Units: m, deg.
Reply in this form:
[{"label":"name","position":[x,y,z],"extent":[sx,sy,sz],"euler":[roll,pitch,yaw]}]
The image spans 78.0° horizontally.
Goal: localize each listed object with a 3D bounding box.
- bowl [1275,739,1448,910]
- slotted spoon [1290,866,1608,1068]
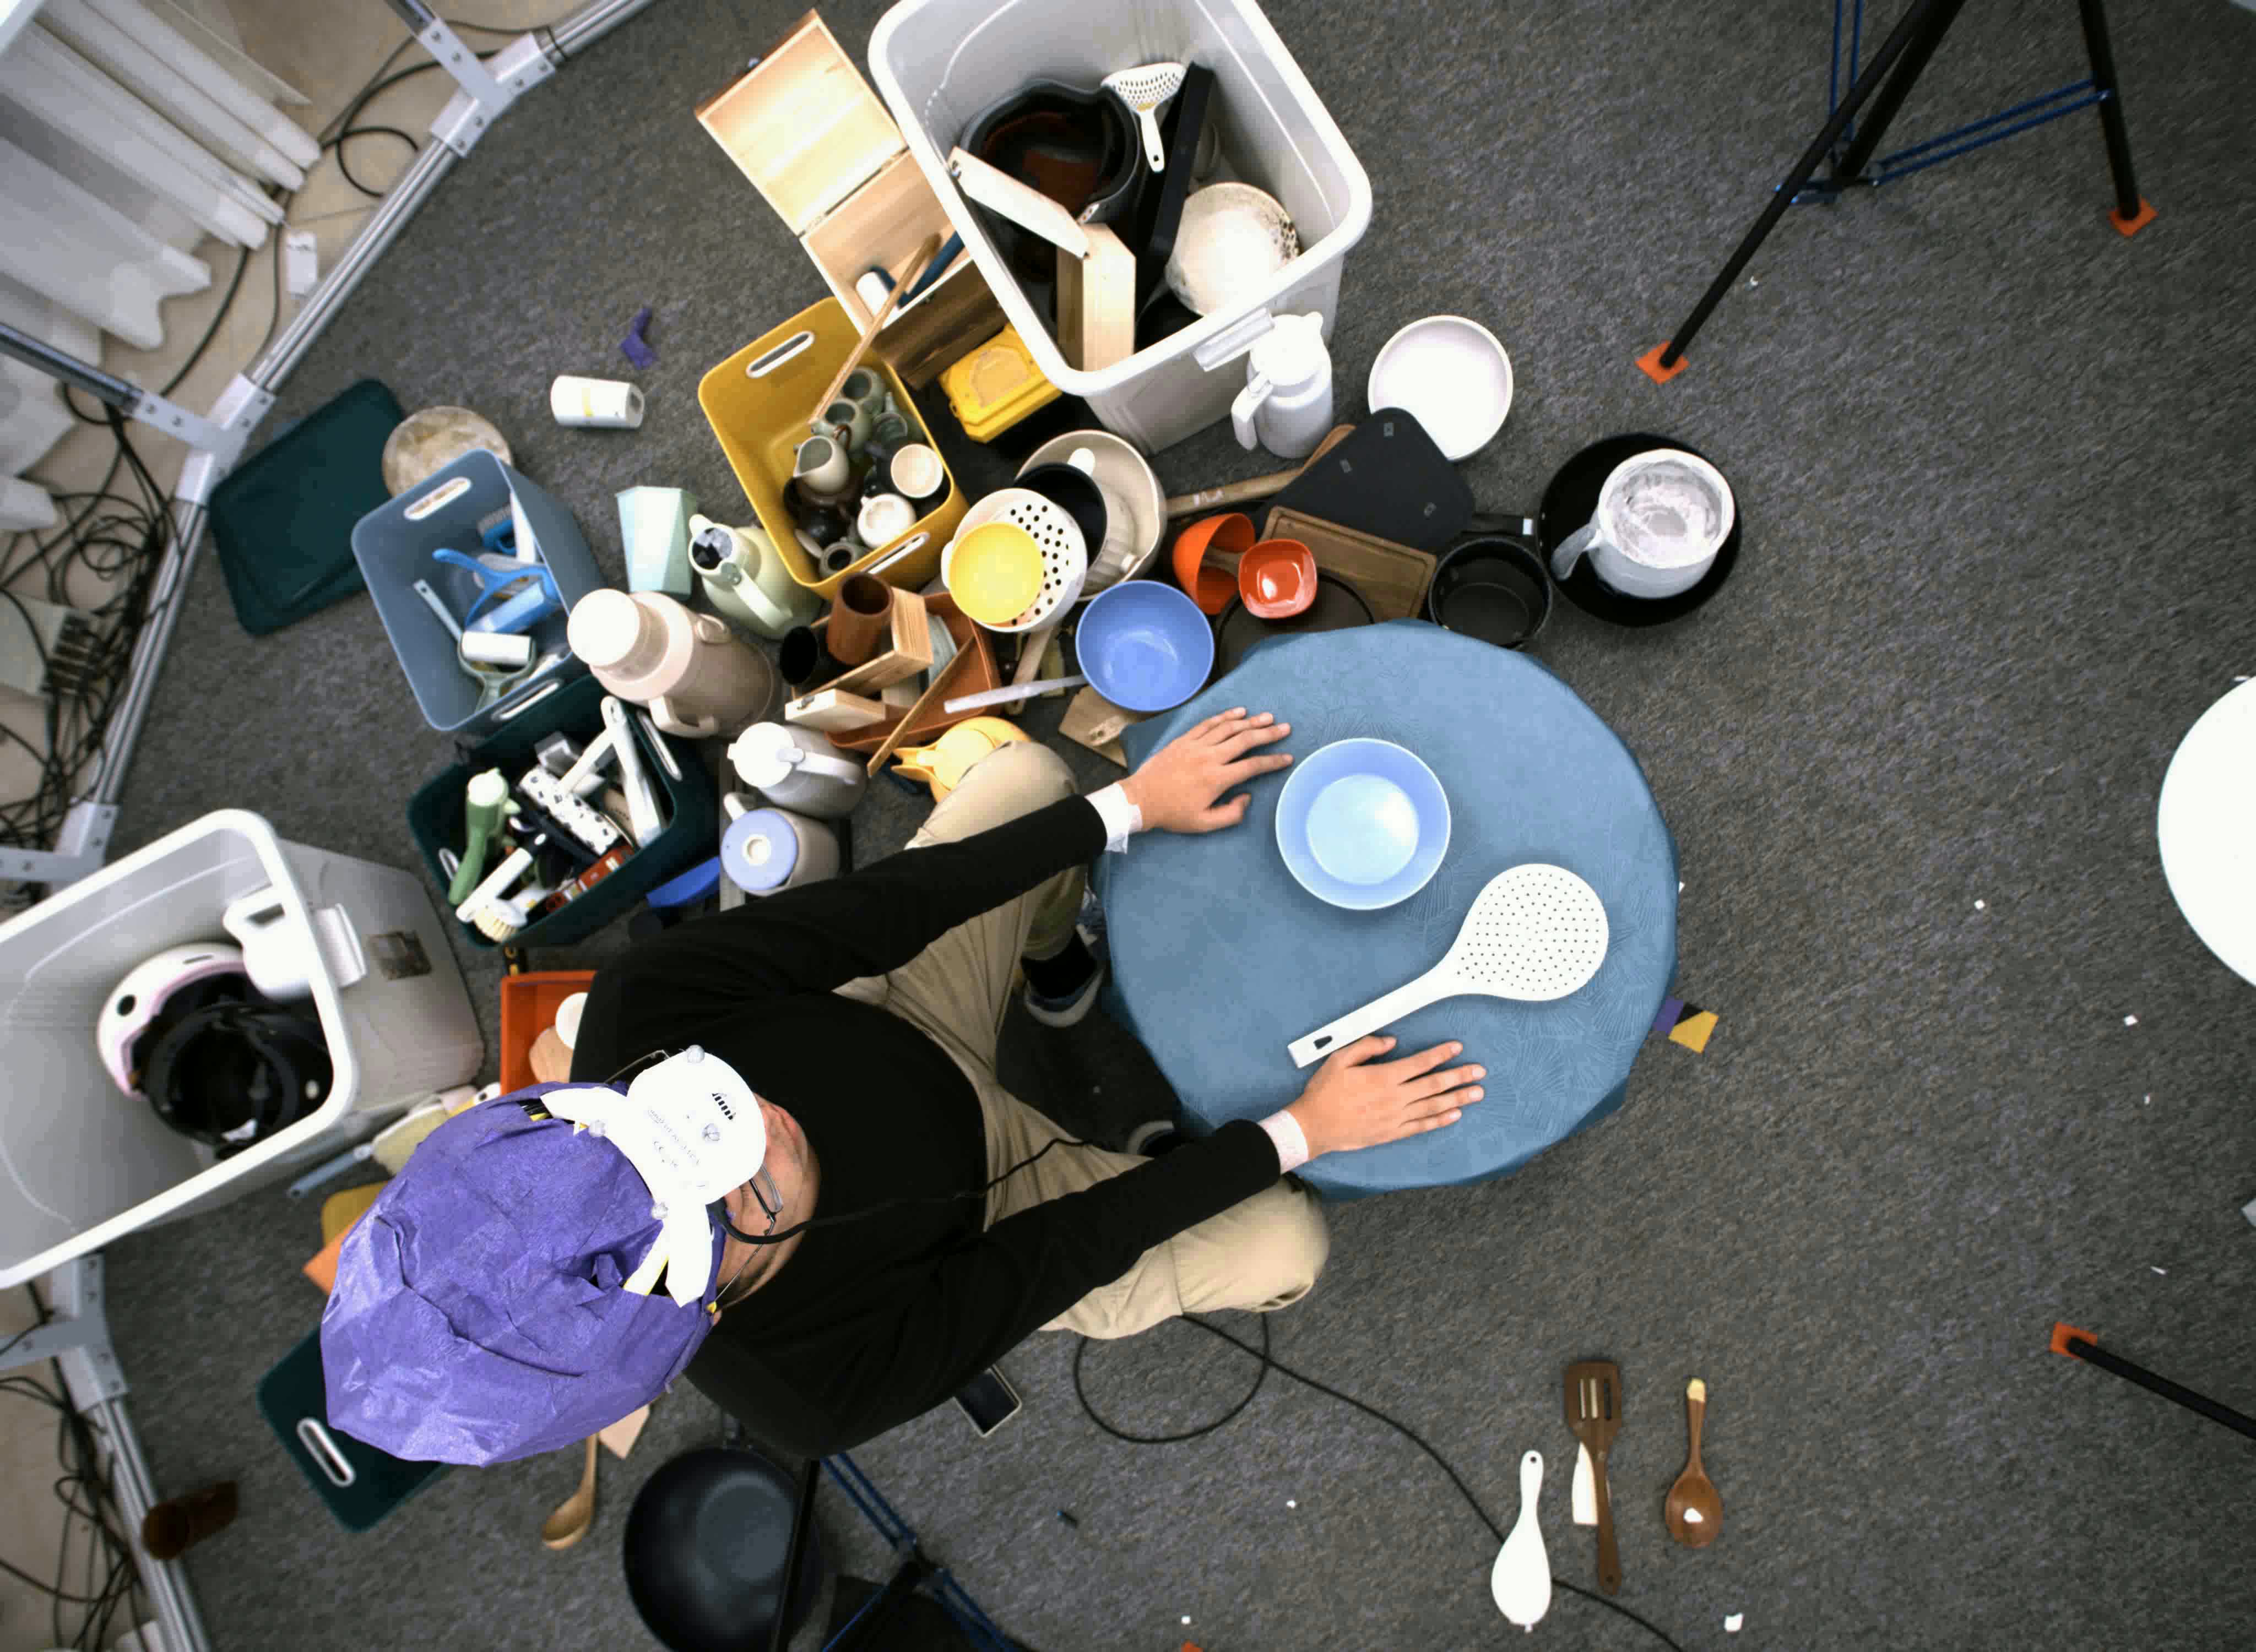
[{"label":"bowl","position":[0.242,0.000,1.434],"extent":[0.177,0.070,0.175],"euler":[-1,87,11]},{"label":"slotted spoon","position":[0.324,0.159,1.422],"extent":[0.352,0.046,0.135],"euler":[-29,82,9]}]
